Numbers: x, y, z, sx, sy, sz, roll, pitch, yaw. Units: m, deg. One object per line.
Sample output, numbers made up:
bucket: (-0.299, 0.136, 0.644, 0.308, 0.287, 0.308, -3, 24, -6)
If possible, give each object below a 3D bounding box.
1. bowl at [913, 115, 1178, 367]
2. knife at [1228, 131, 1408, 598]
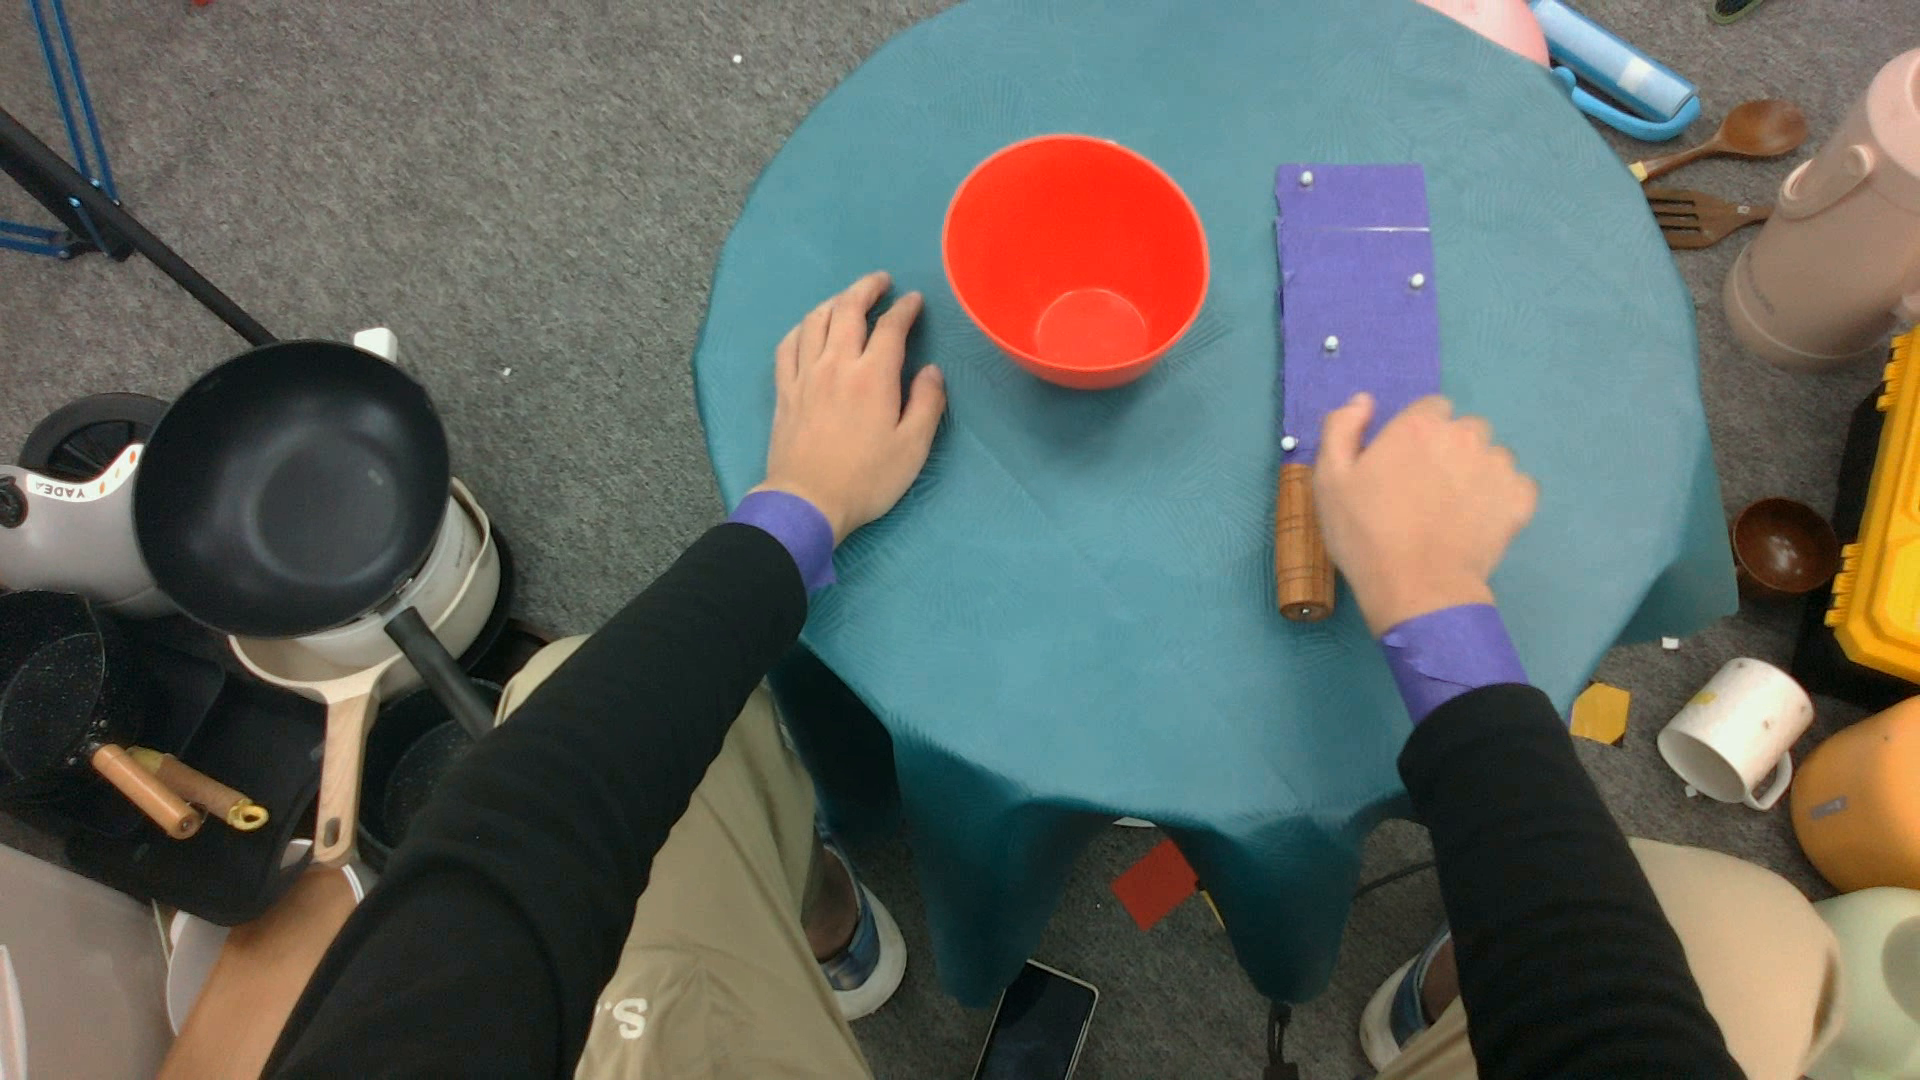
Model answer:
bowl: (0.049, -0.158, 0.798, 0.148, 0.104, 0.148, 0, 67, 1)
knife: (0.215, -0.117, 0.813, 0.104, 0.032, 0.316, 1, 67, 4)
